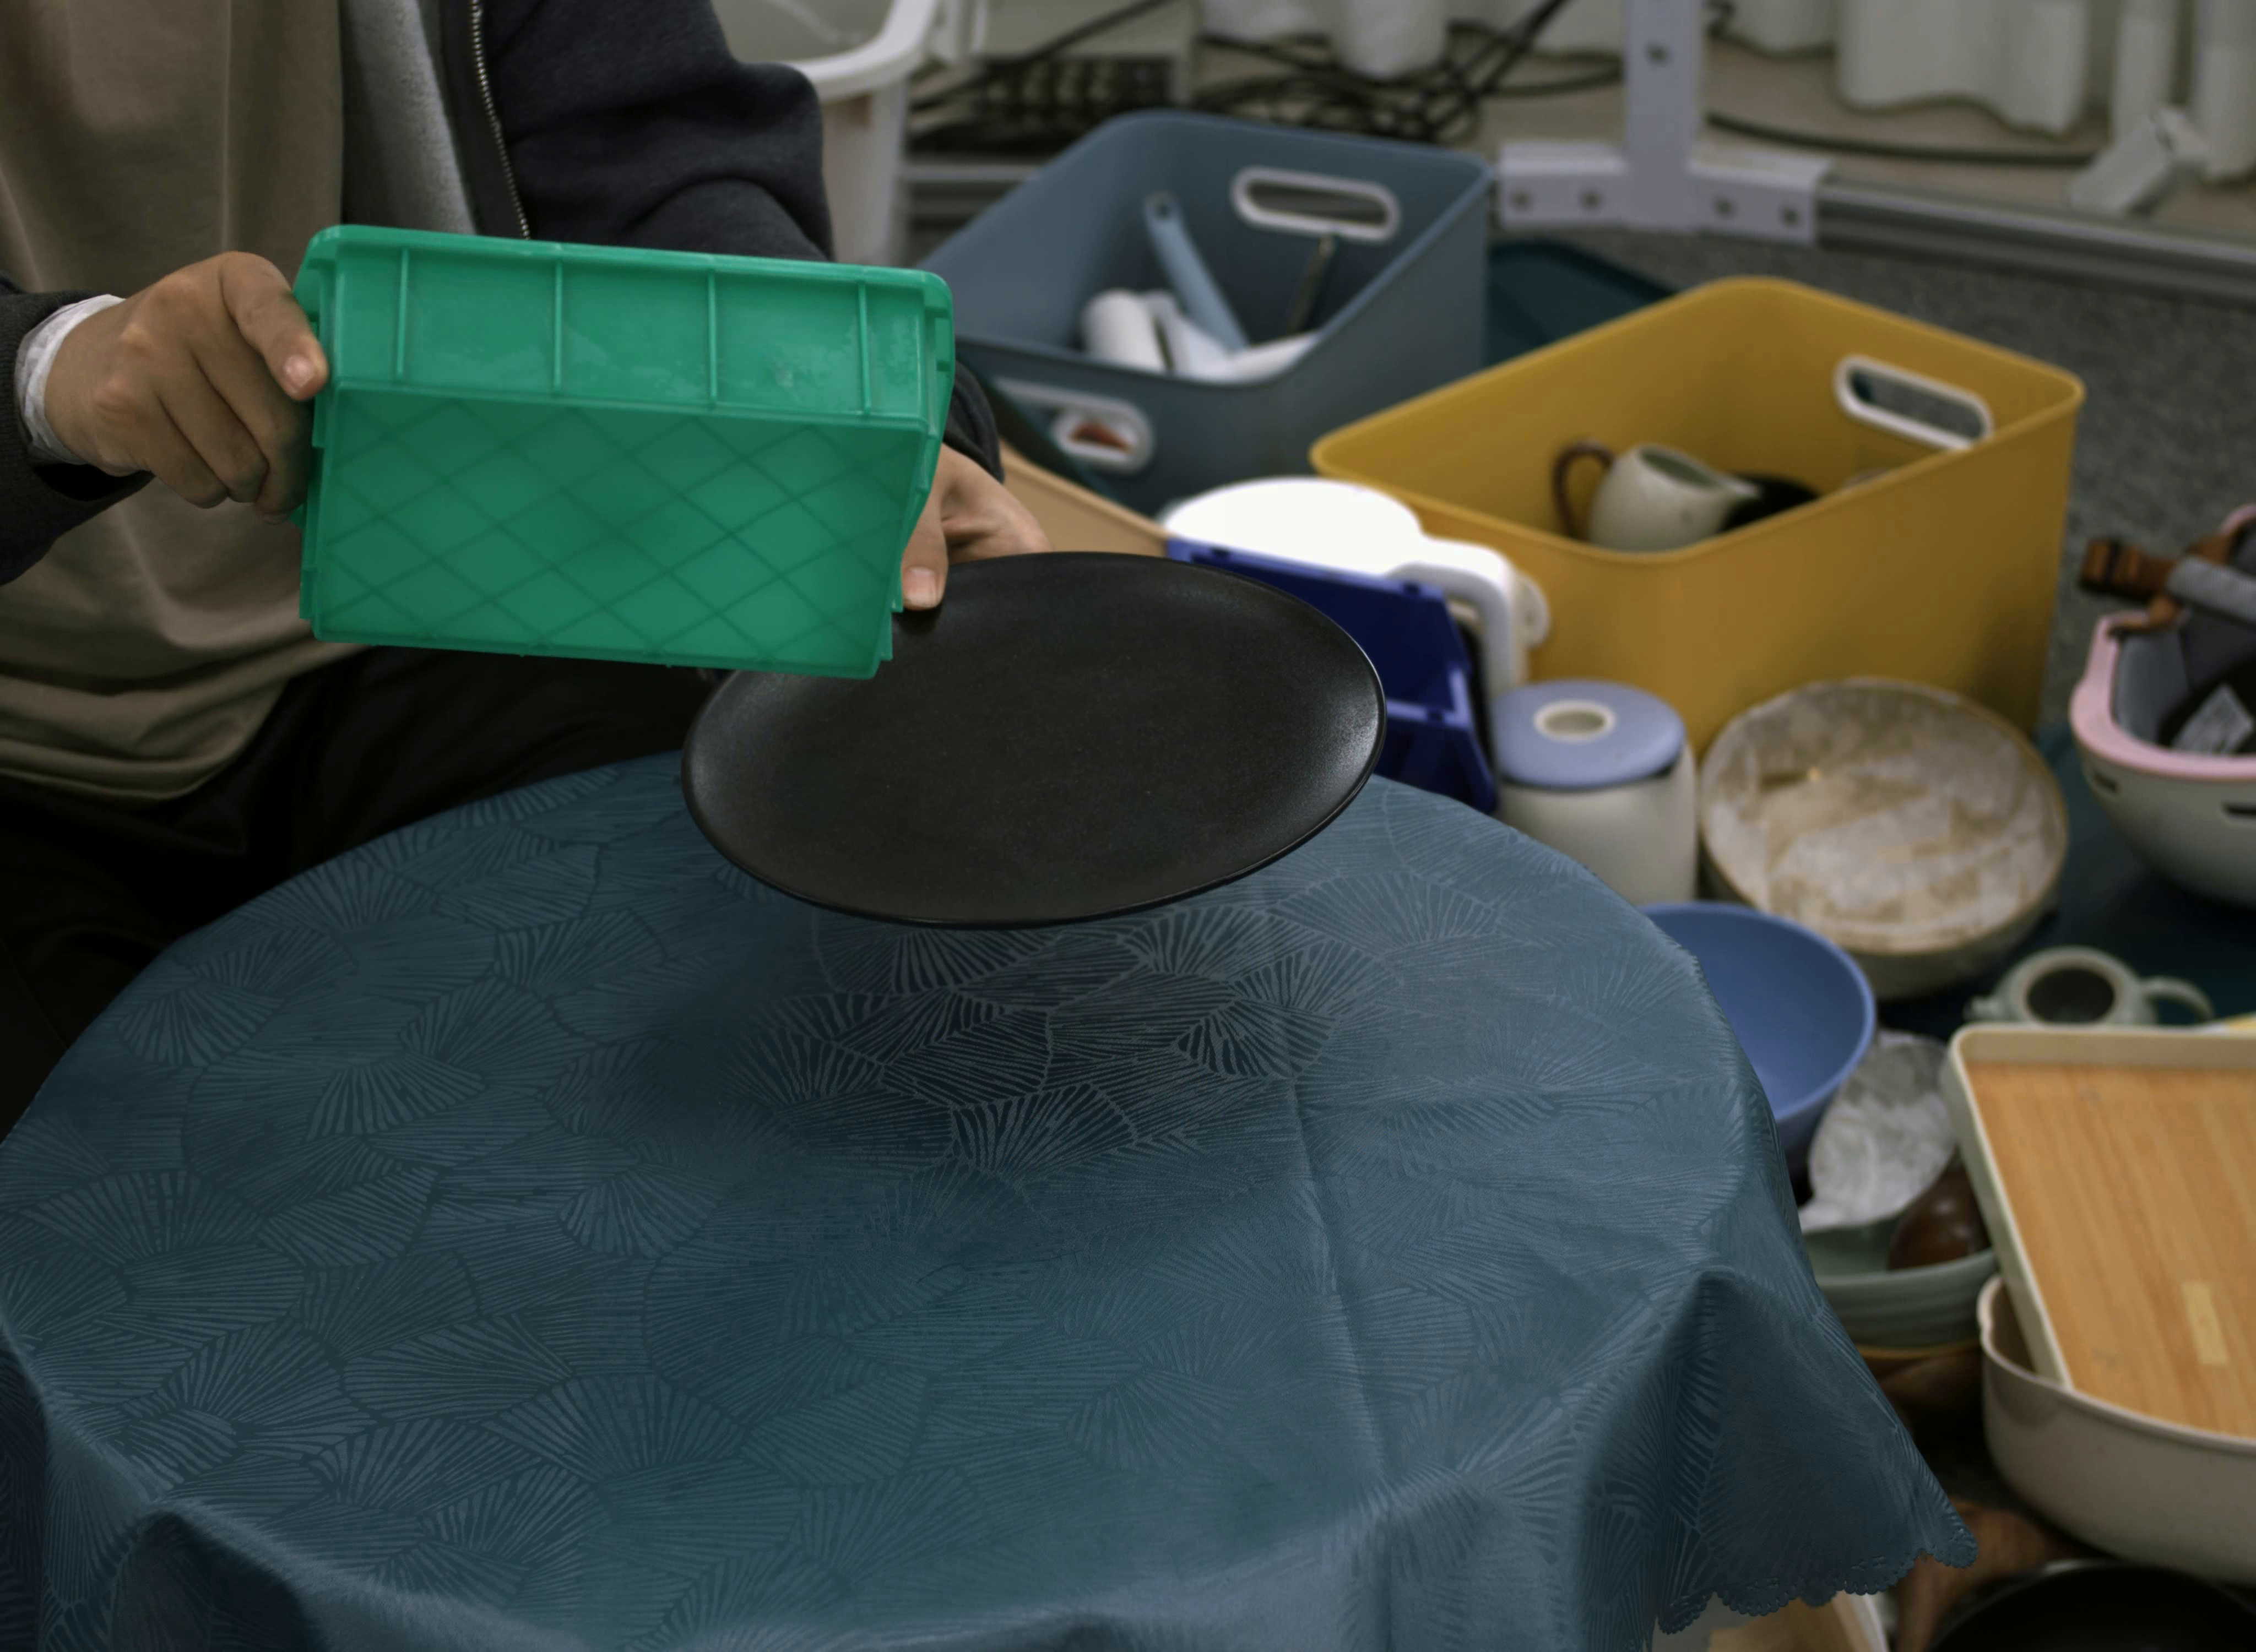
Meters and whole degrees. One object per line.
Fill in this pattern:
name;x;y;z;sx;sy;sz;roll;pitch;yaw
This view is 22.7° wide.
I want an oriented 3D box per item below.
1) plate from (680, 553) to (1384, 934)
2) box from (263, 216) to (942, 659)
plate;-0.032;-0.025;1.936;0.243;0.023;0.248;-4;32;3
box;-0.163;-0.116;1.763;0.210;0.136;0.066;1;49;-14
